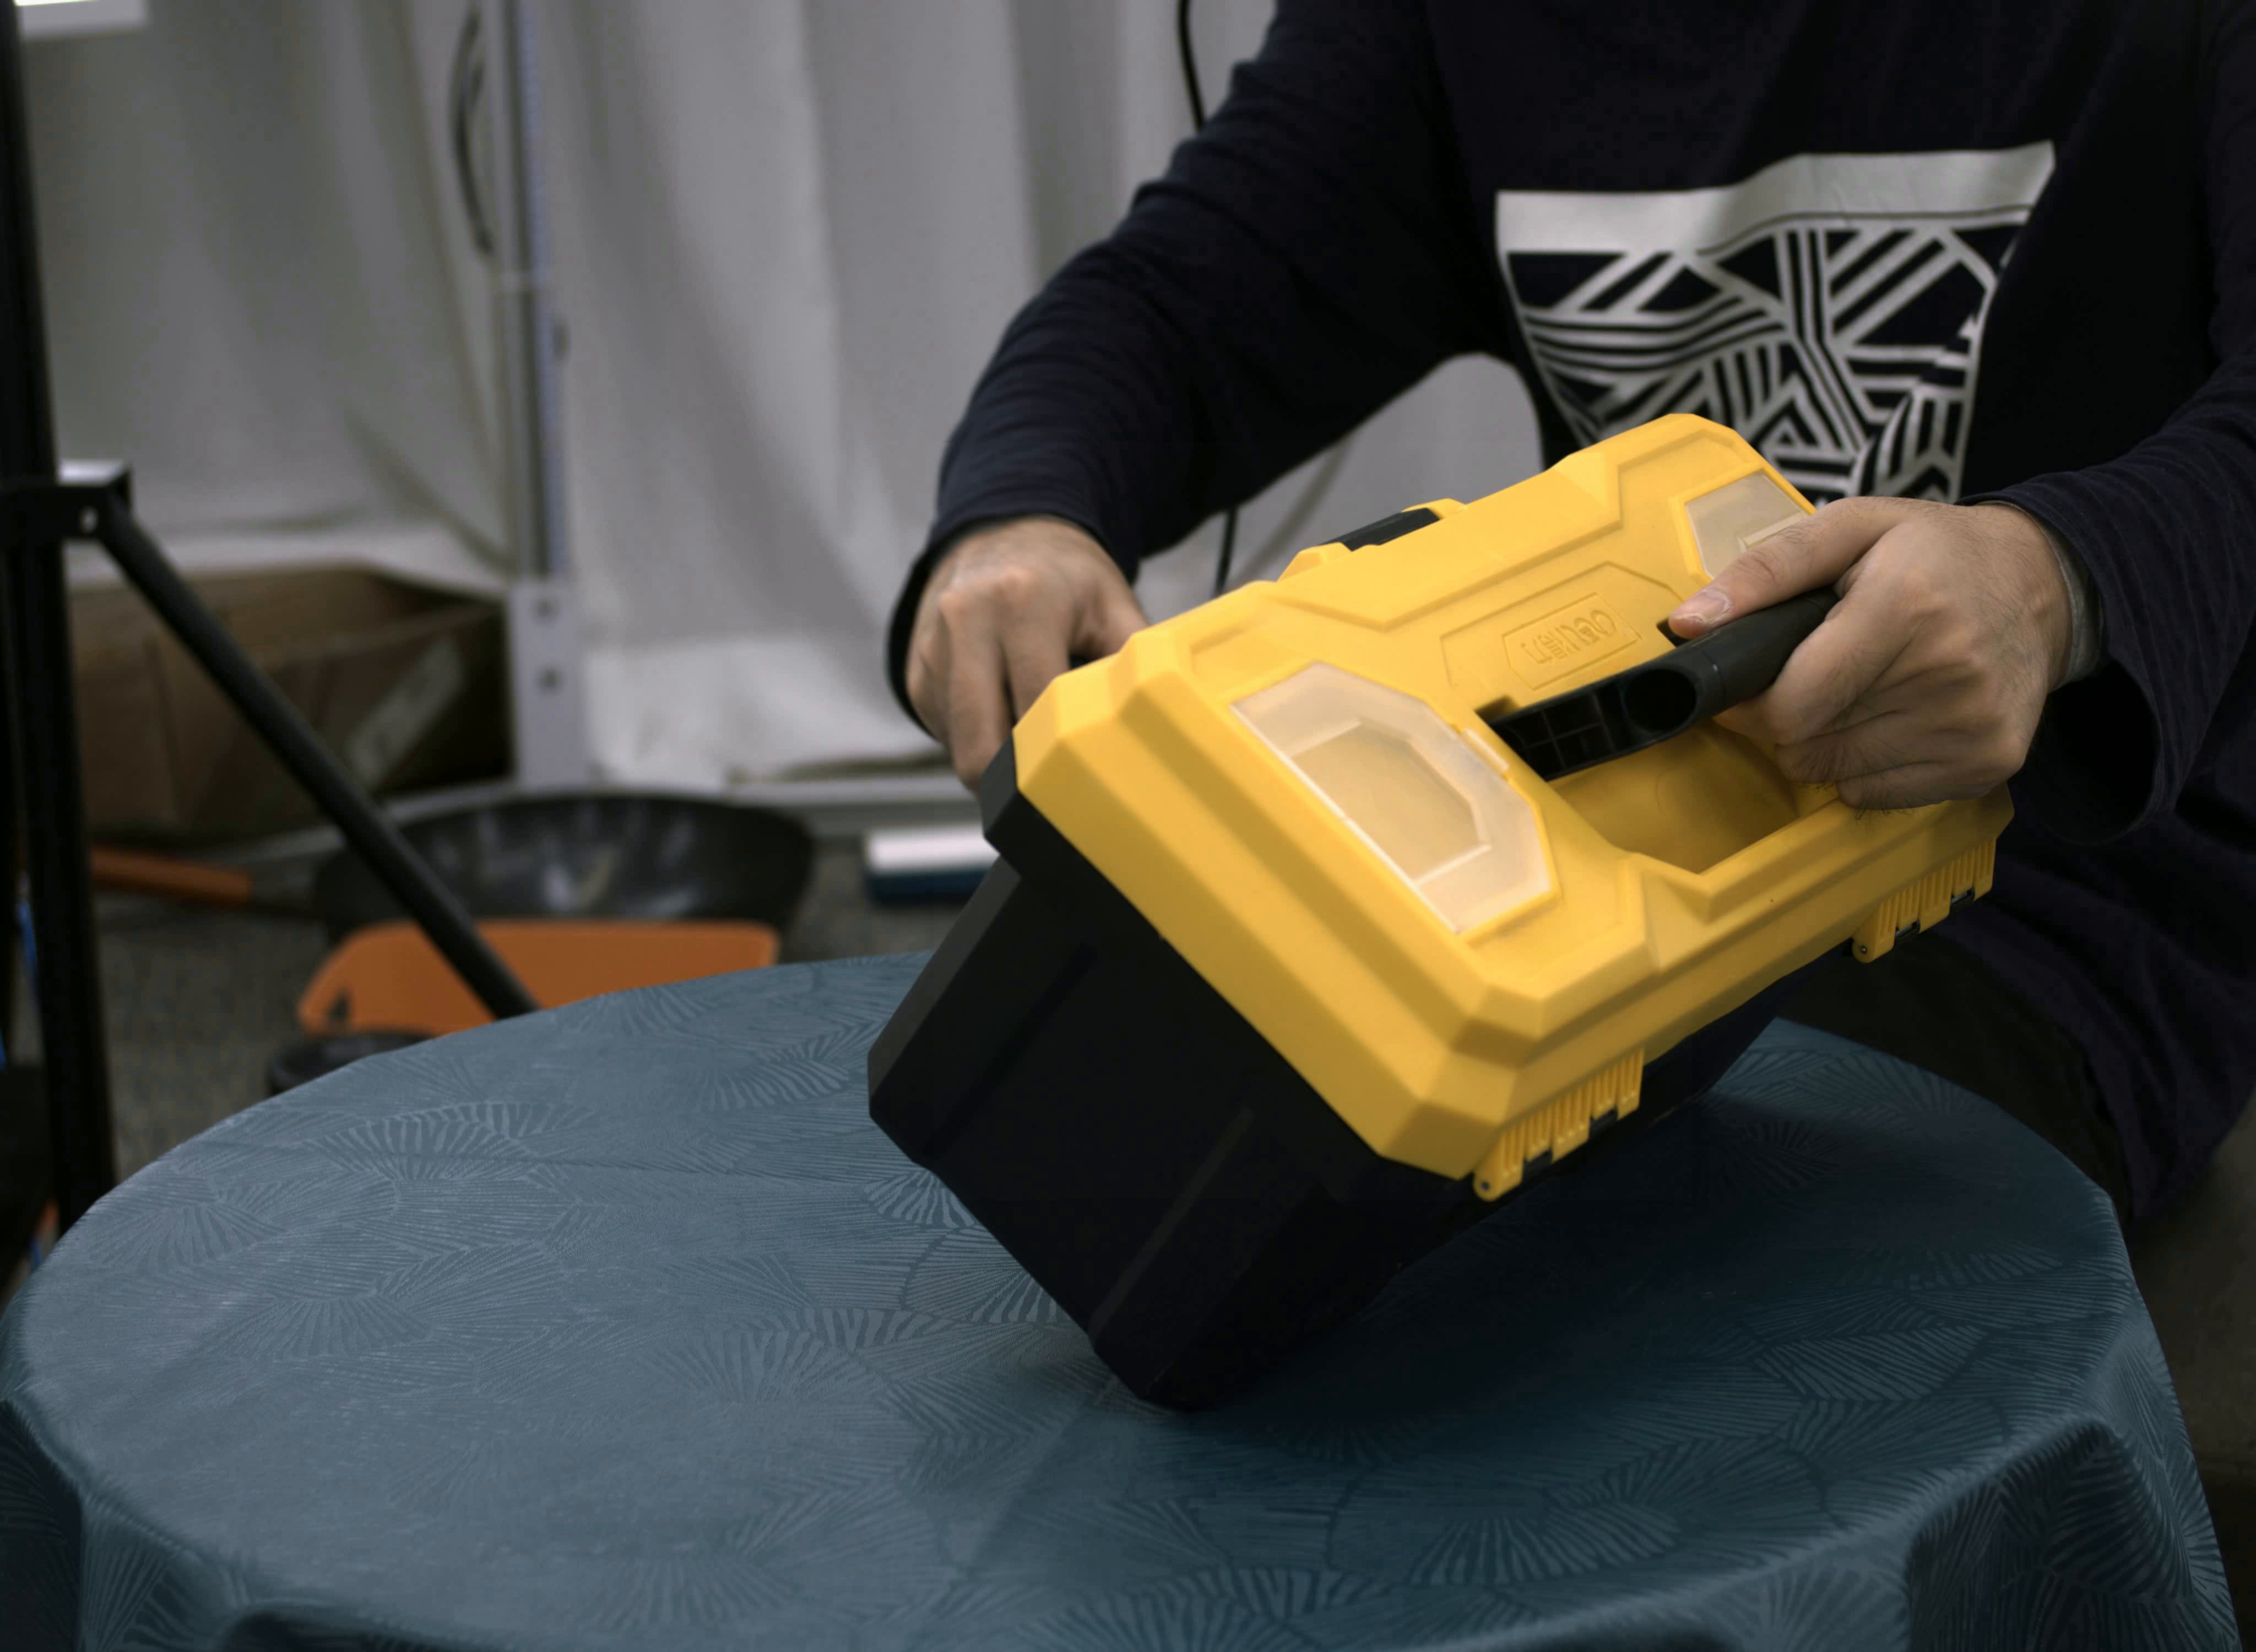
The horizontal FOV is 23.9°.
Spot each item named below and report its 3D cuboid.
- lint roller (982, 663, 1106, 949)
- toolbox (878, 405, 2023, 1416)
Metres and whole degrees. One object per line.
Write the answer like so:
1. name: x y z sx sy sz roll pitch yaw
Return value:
1. lint roller: -0.015 -0.018 1.664 0.047 0.135 0.183 37 10 -32
2. toolbox: 0.092 0.017 1.480 0.183 0.174 0.345 45 34 15
